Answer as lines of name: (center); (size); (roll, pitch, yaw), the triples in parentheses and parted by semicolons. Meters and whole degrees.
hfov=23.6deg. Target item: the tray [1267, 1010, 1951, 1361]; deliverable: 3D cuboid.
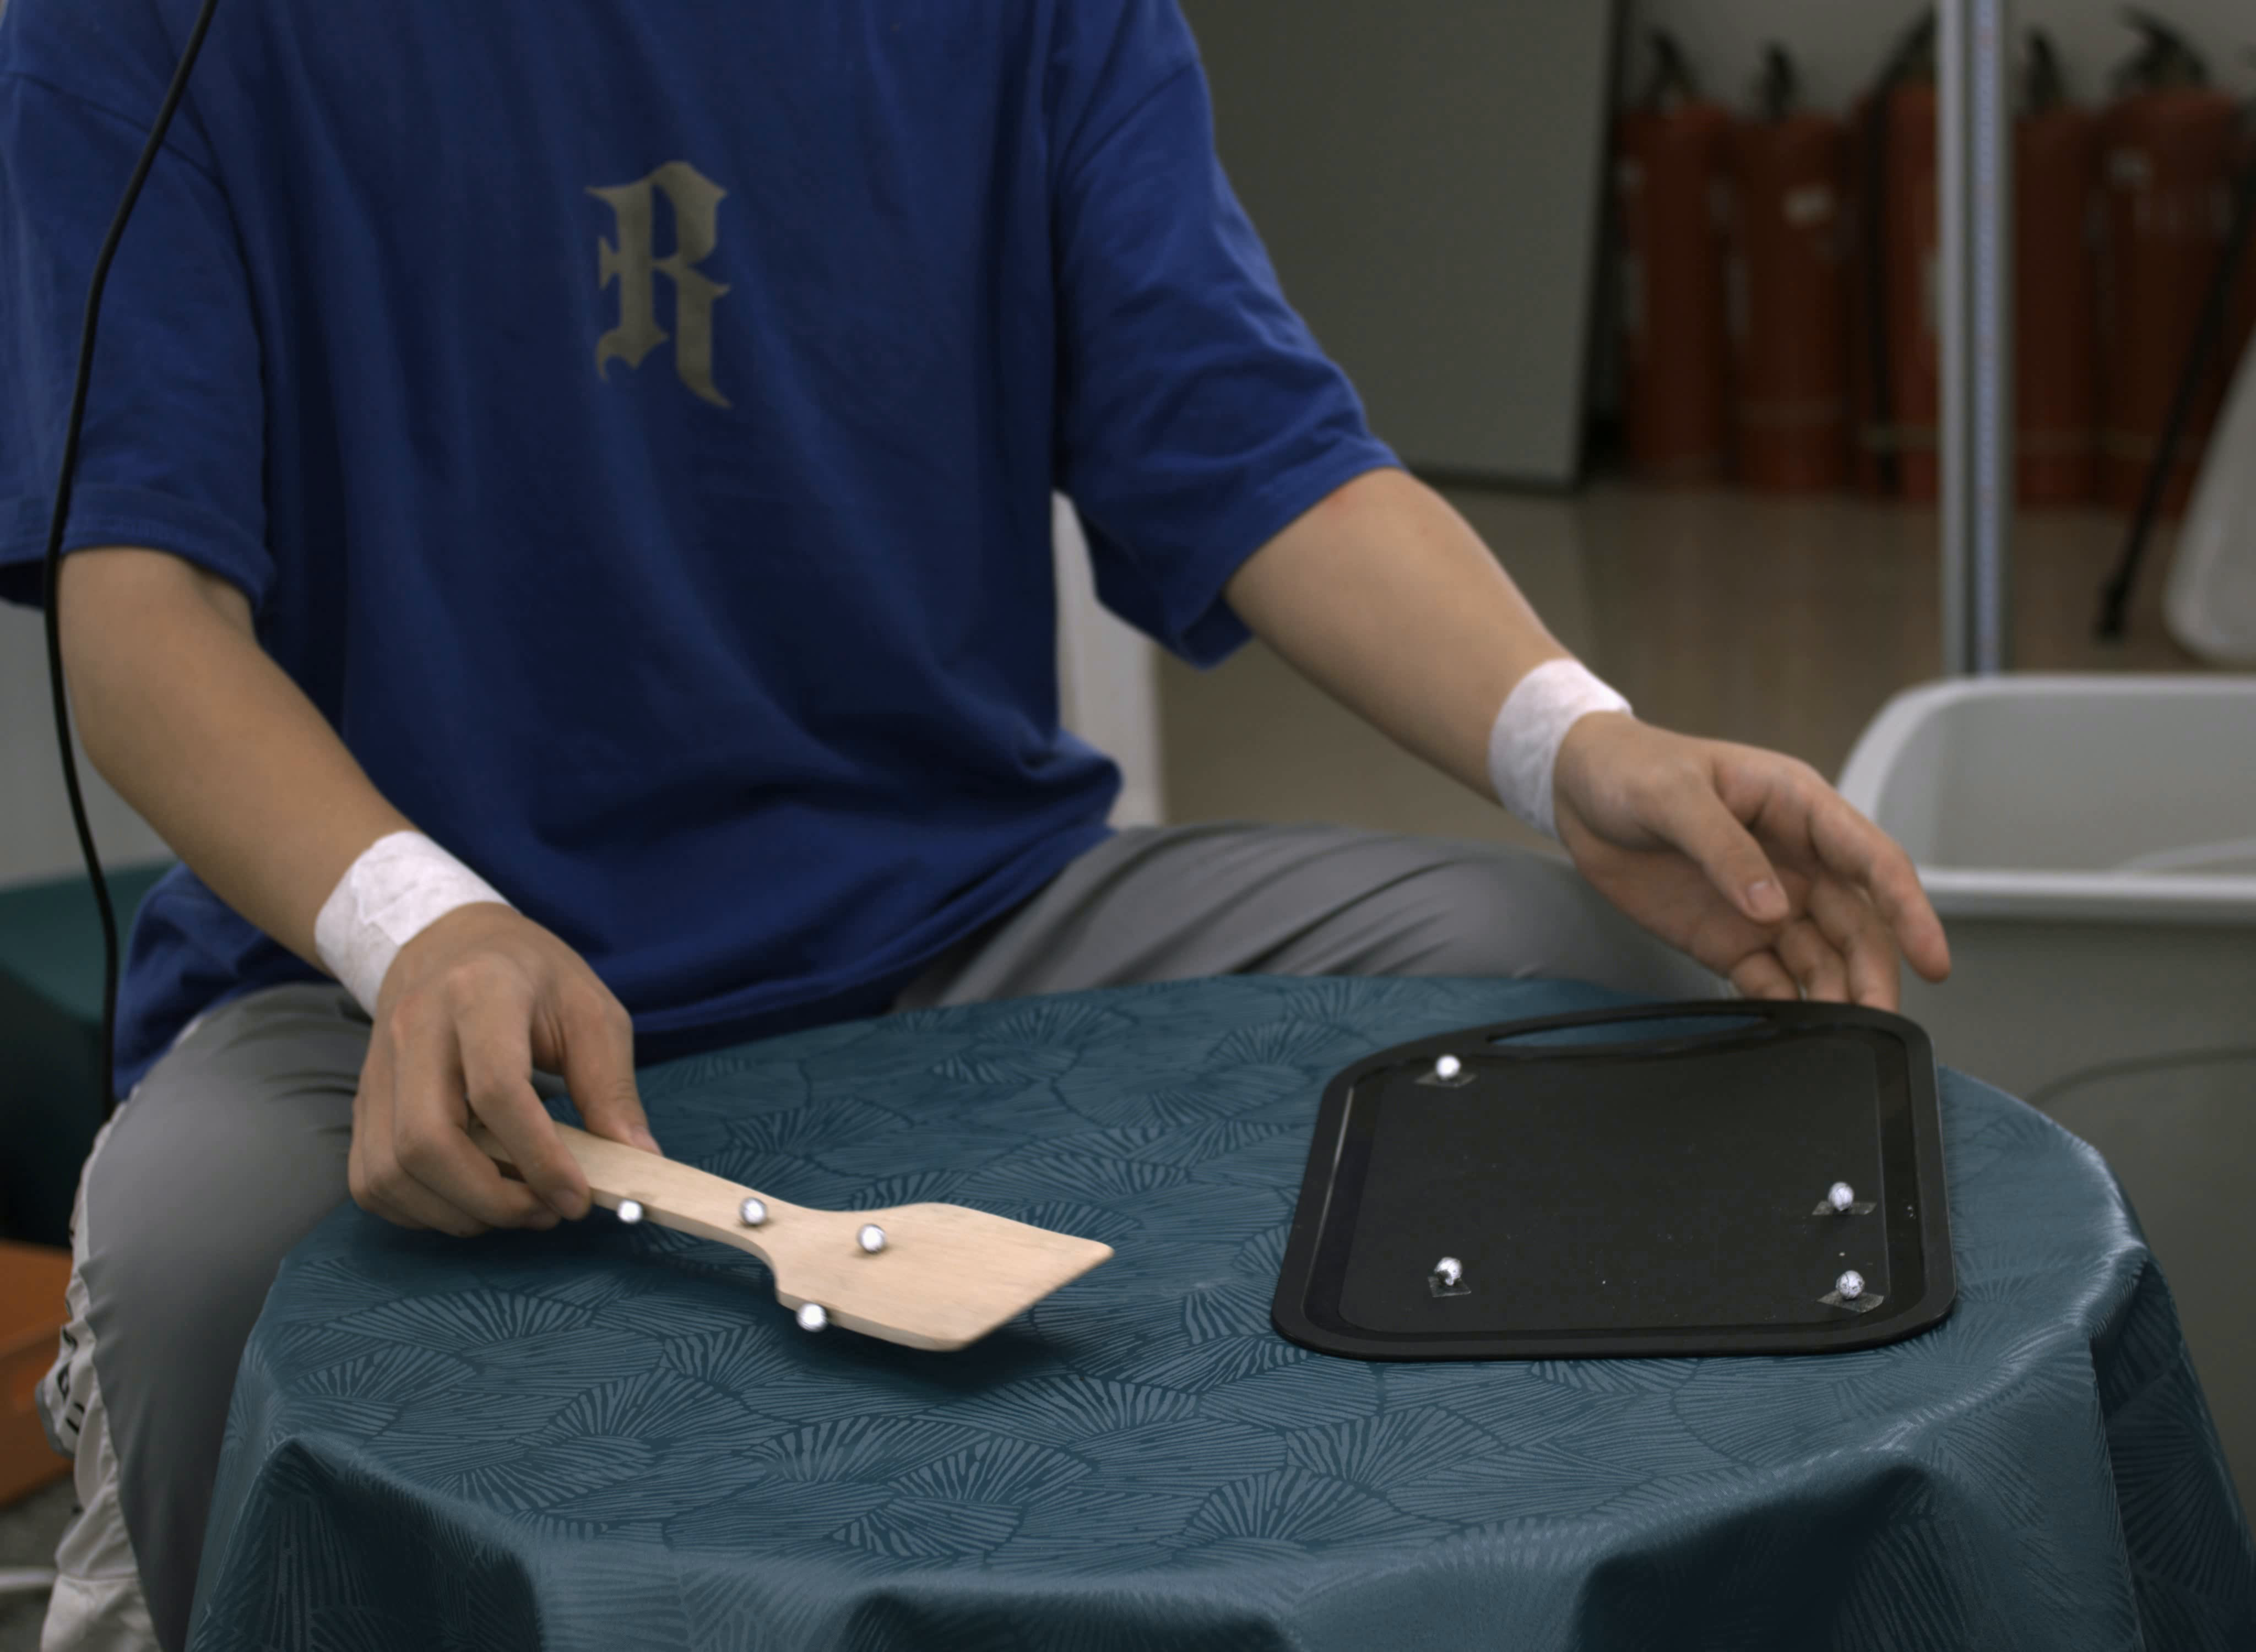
tray: (0.158, 0.110, 1.737); (0.209, 0.010, 0.324); (-3, 16, 9)

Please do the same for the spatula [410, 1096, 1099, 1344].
spatula: (-0.131, 0.120, 1.706); (0.071, 0.011, 0.296); (-27, 27, -38)
